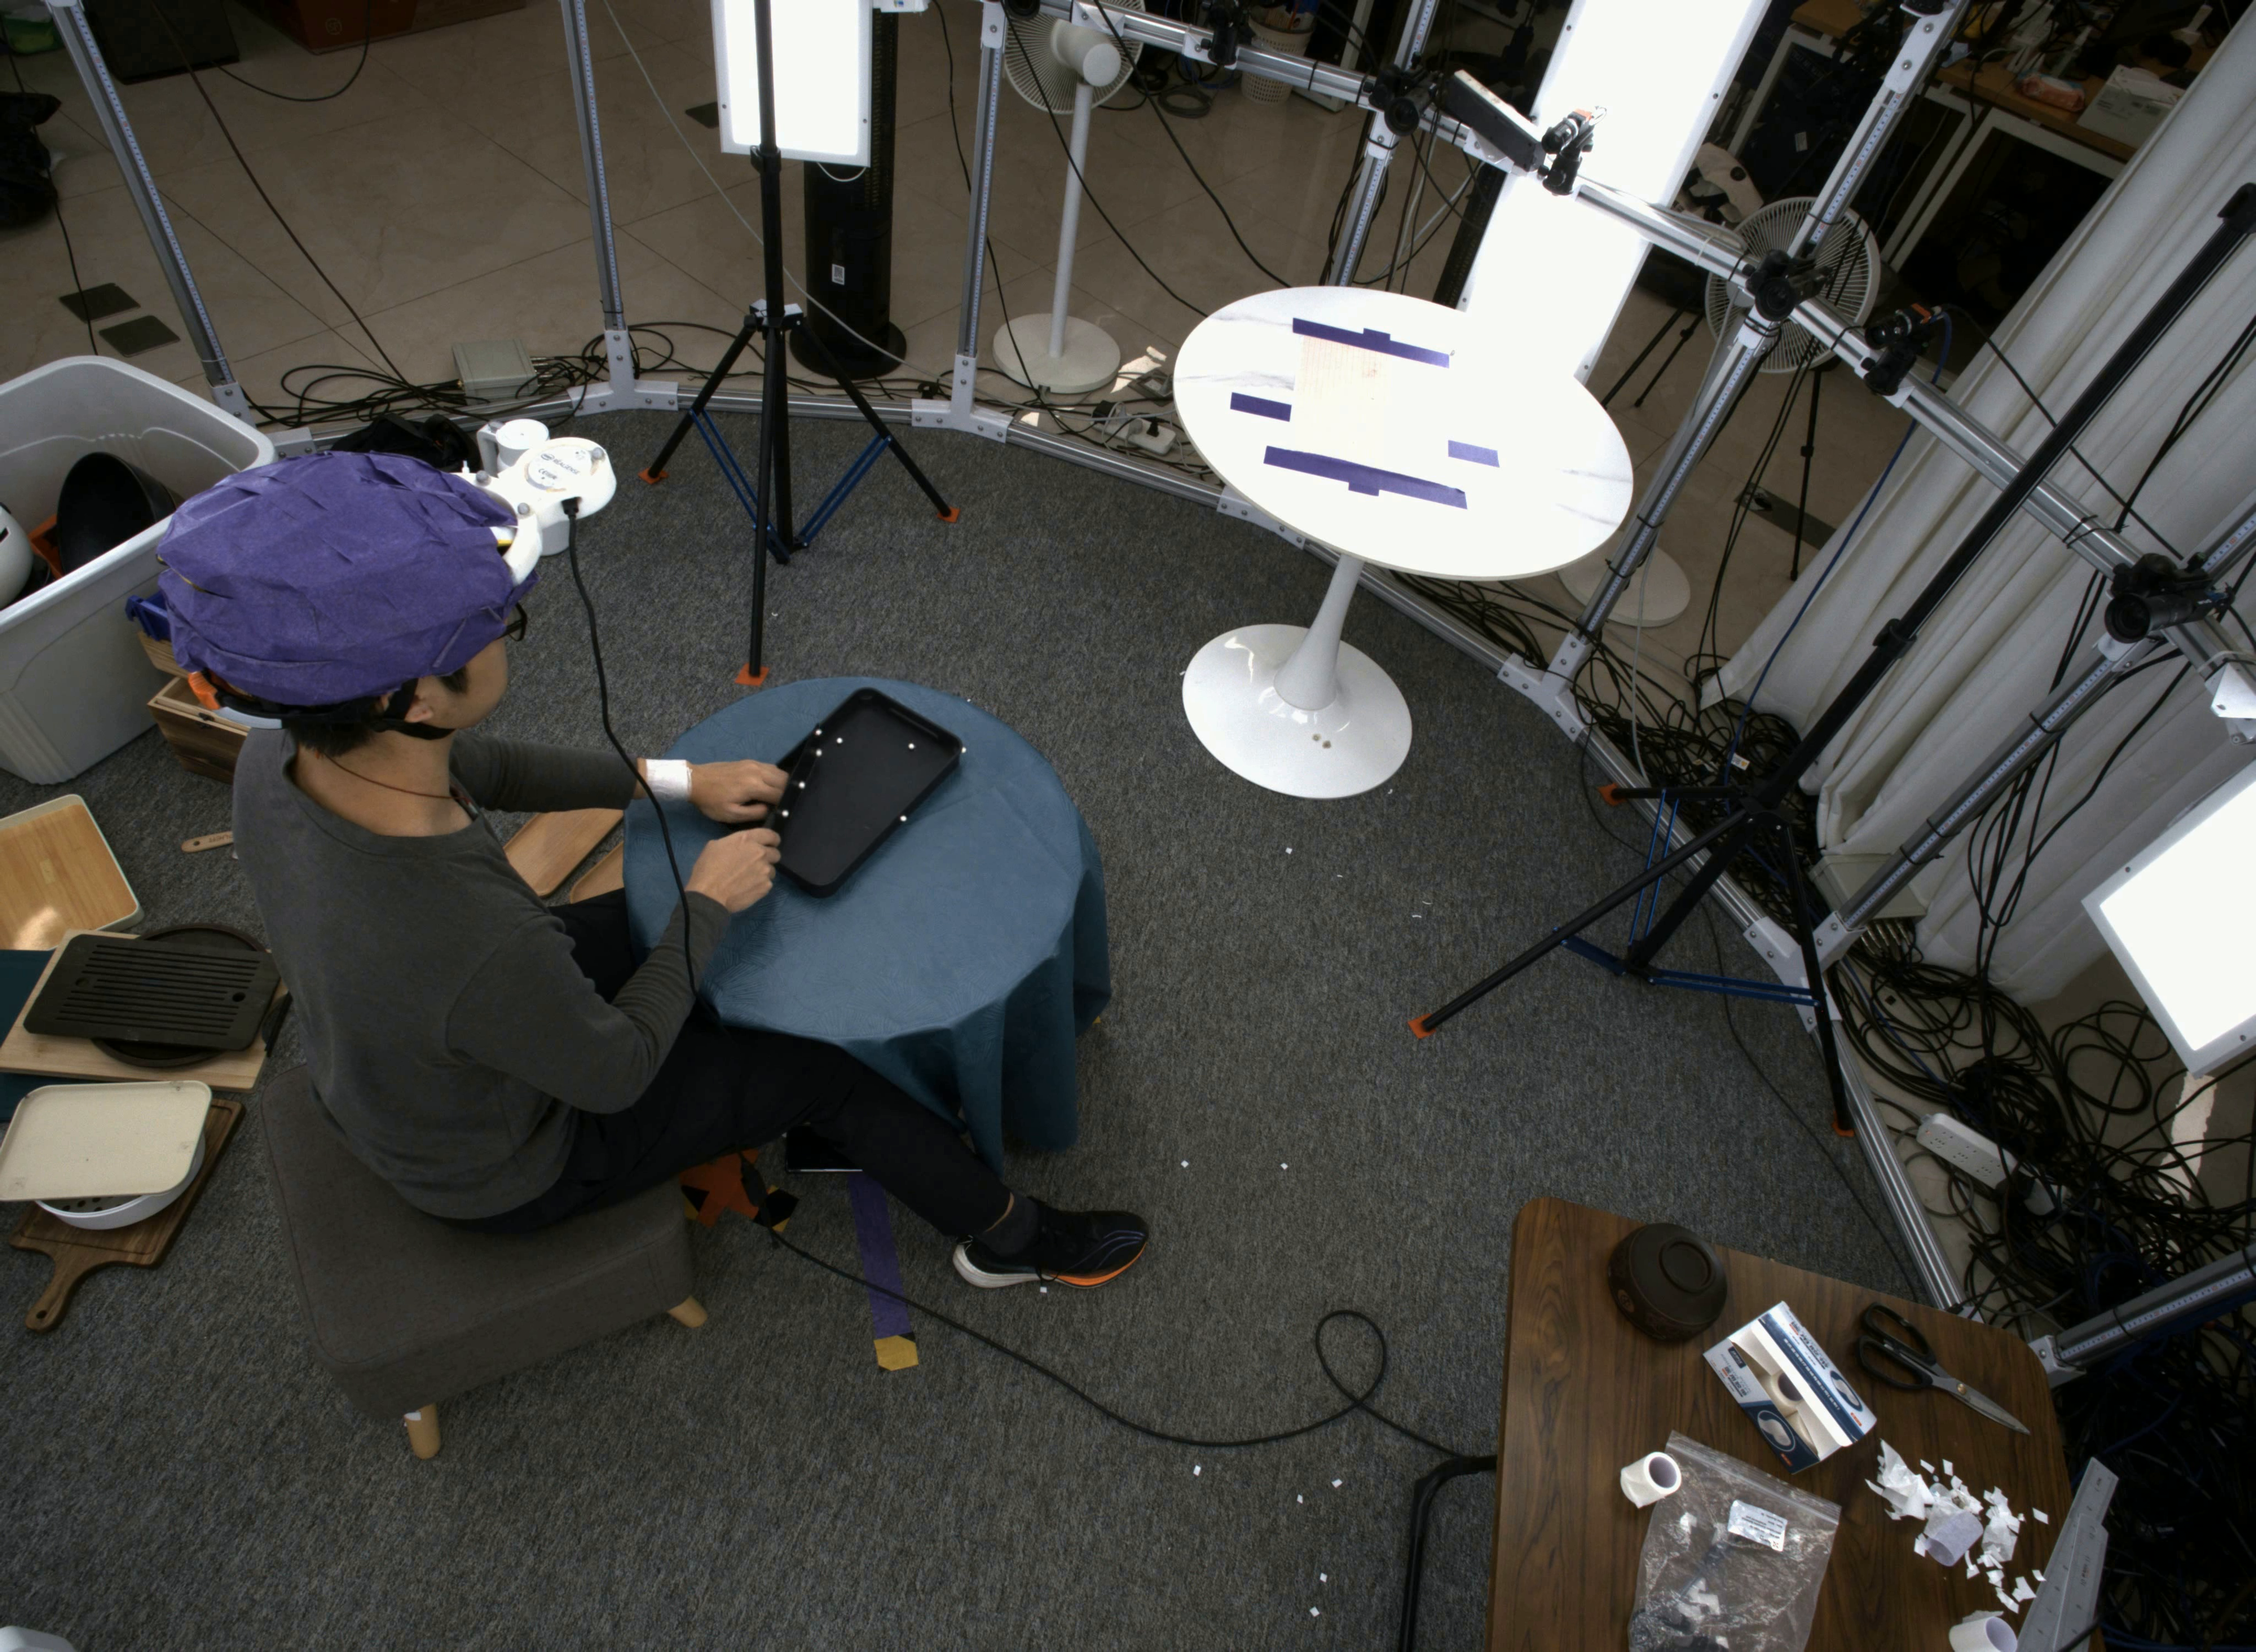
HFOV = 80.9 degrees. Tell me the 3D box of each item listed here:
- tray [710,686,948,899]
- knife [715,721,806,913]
[{"bbox_3d":[-0.399,-0.053,1.757,0.181,0.038,0.316,29,52,8],"label":"tray"},{"bbox_3d":[-0.468,-0.012,1.670,0.020,0.083,0.298,13,48,1],"label":"knife"}]
